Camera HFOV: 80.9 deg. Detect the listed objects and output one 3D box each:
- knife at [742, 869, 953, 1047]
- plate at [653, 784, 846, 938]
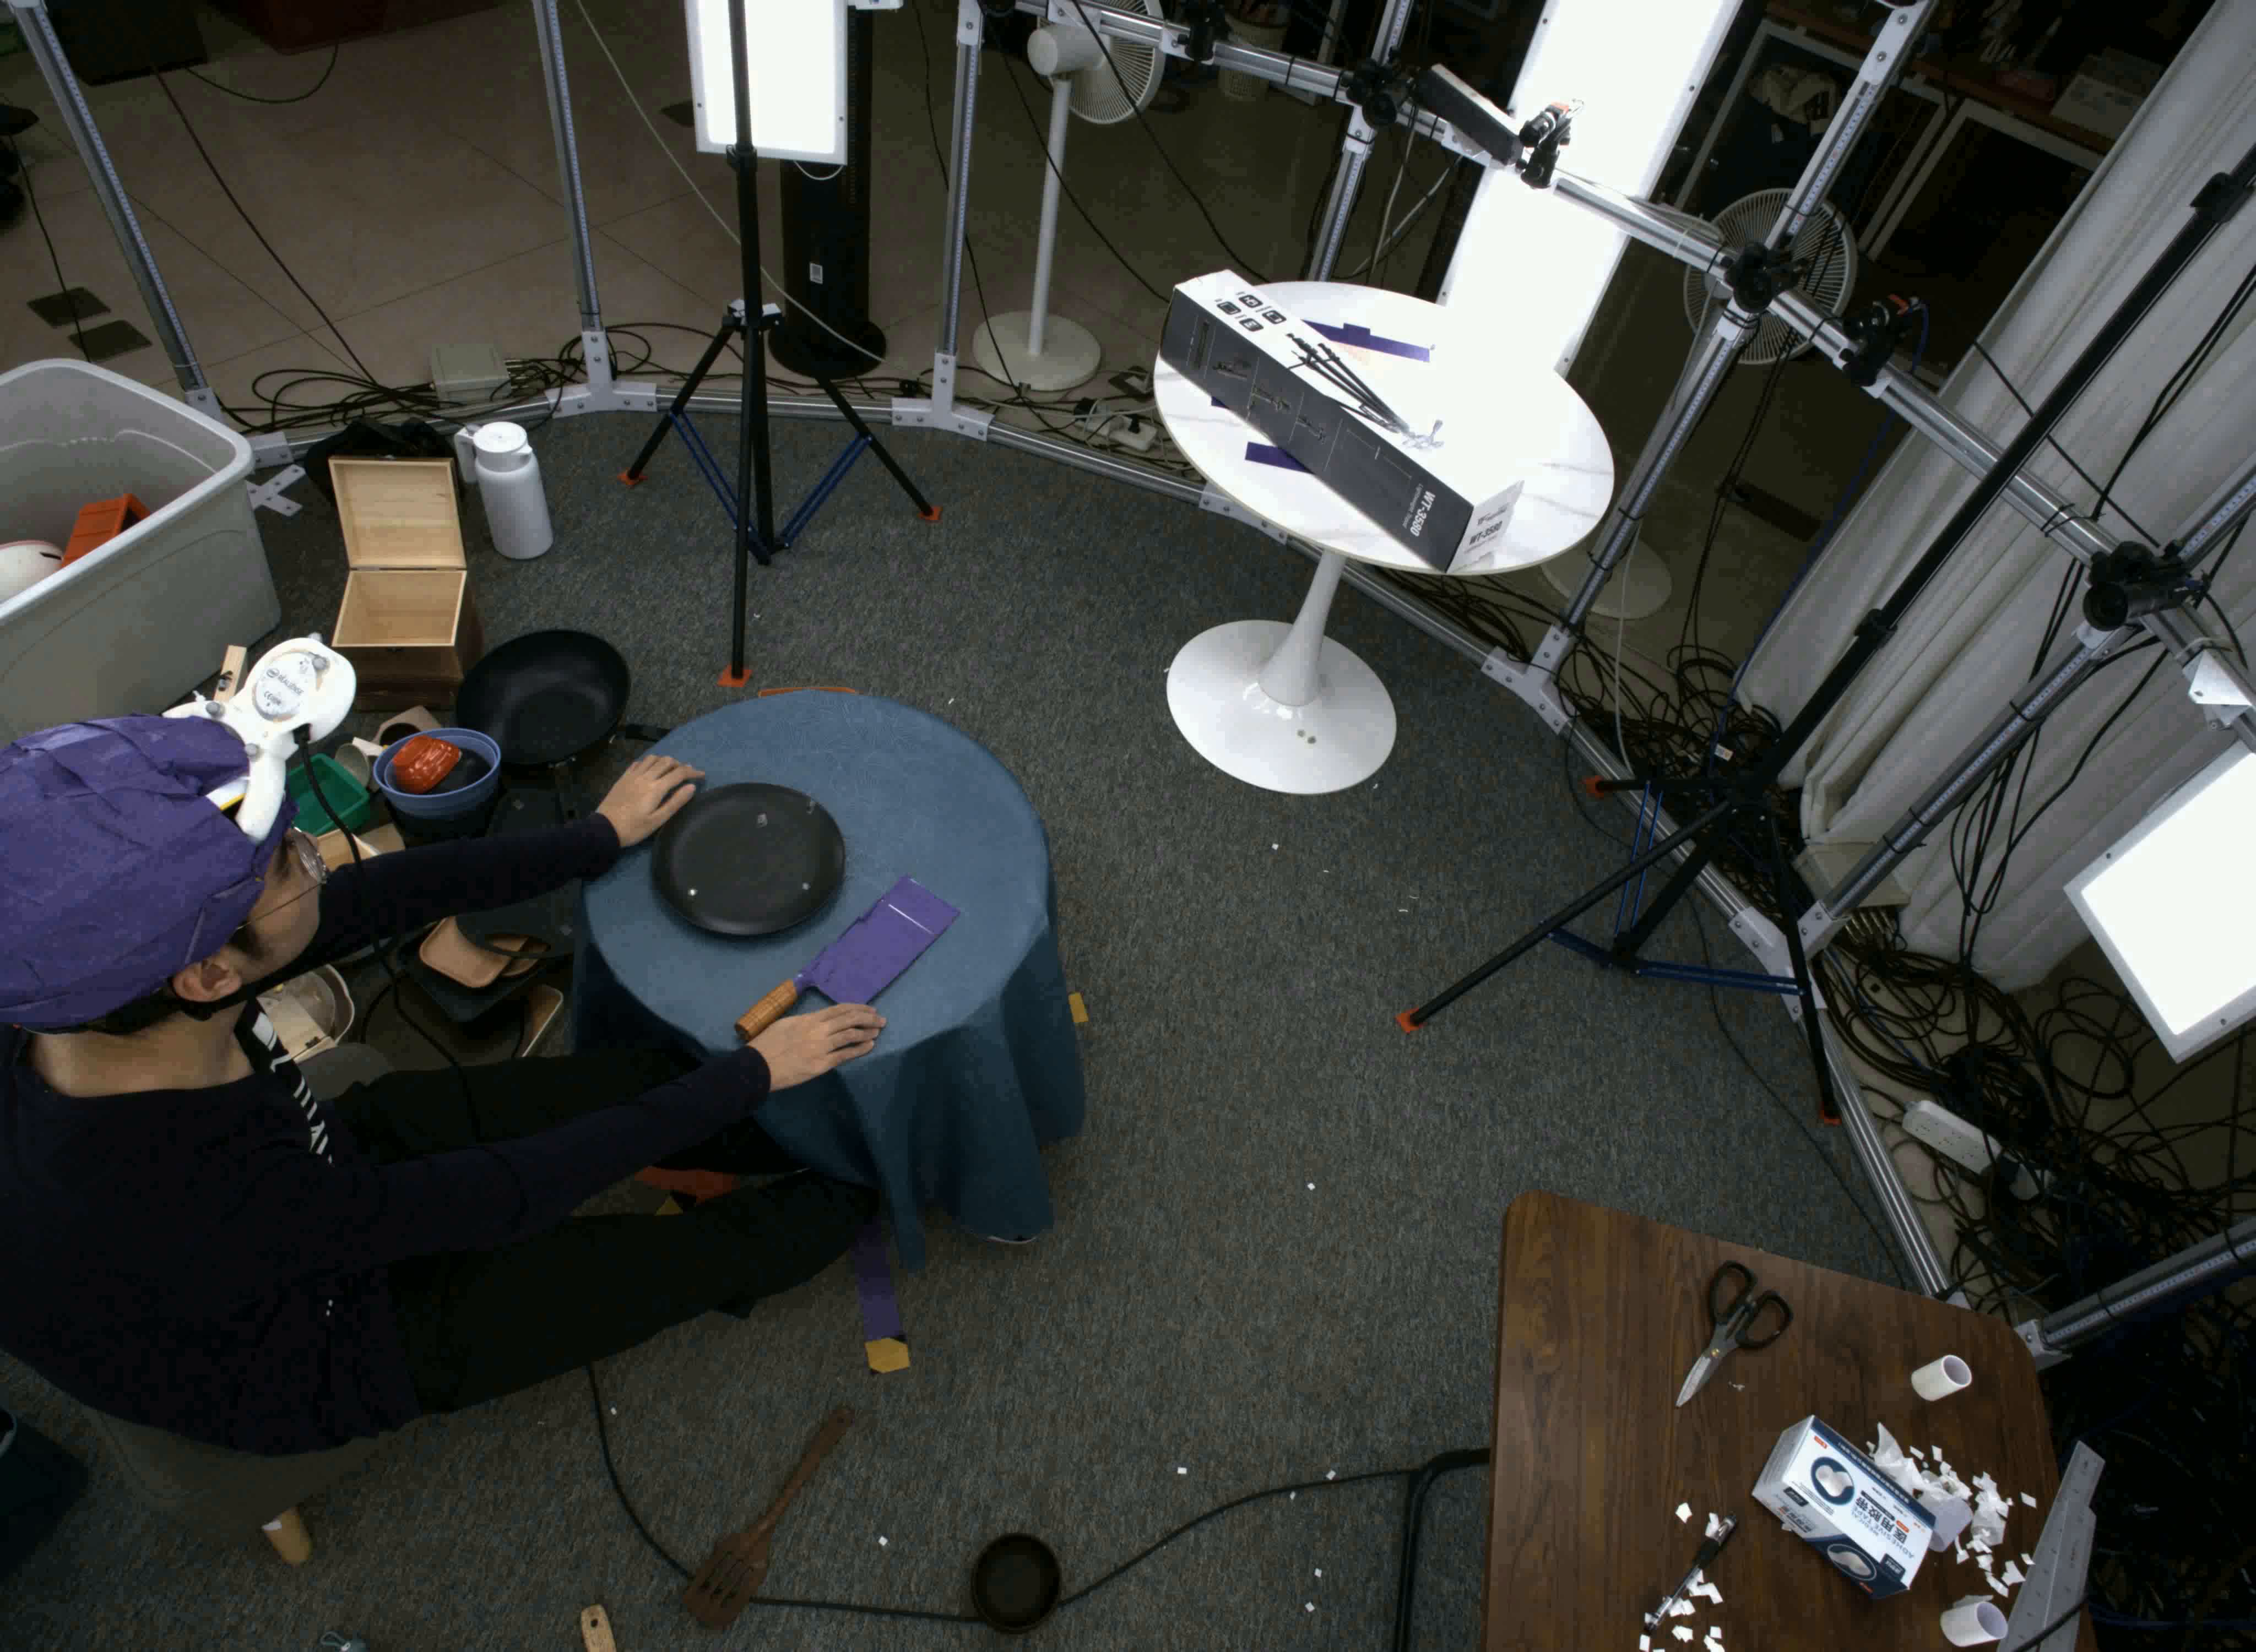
[{"bbox_3d":[-0.339,0.170,1.614,0.102,0.033,0.314,33,53,12],"label":"knife"},{"bbox_3d":[-0.487,0.045,1.671,0.244,0.024,0.240,8,52,-9],"label":"plate"}]
